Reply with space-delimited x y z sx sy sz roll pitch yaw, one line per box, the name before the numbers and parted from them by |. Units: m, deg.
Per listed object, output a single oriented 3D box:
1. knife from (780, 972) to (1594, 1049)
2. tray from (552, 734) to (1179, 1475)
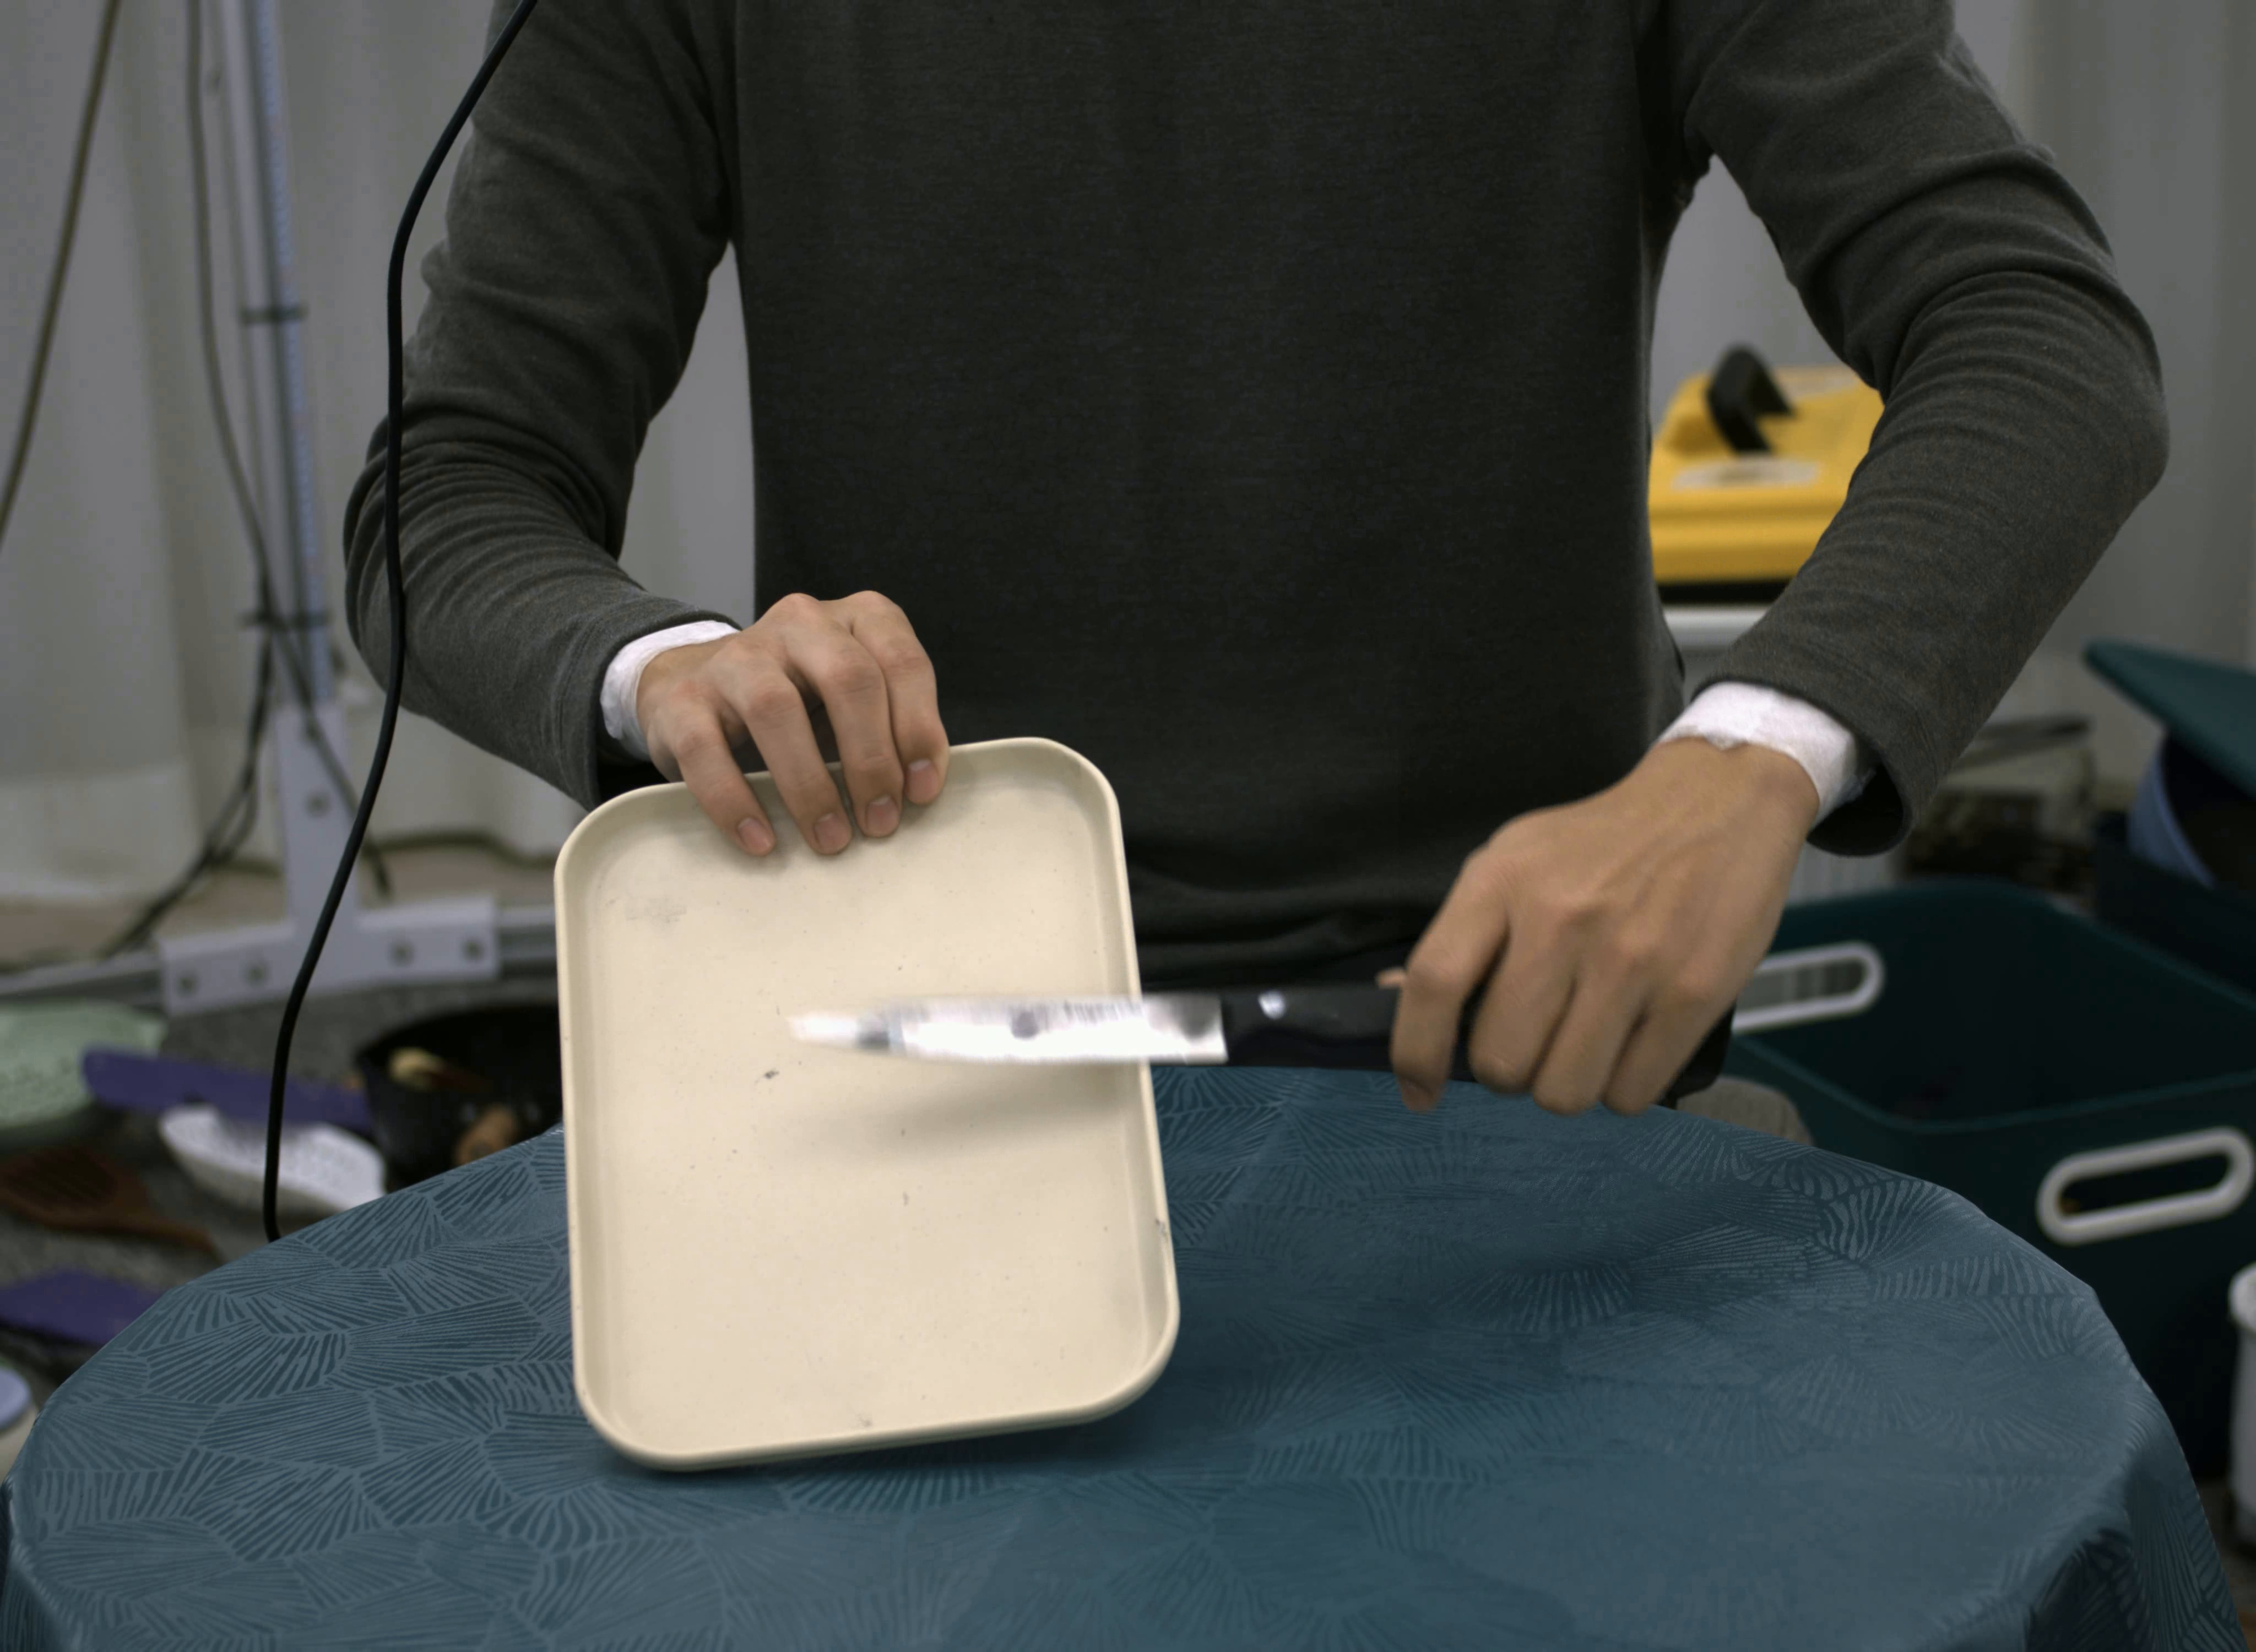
knife | 0.018 0.054 1.574 0.237 0.016 0.025 -1 49 -9
tray | -0.078 0.078 1.573 0.171 0.017 0.243 -8 51 1
